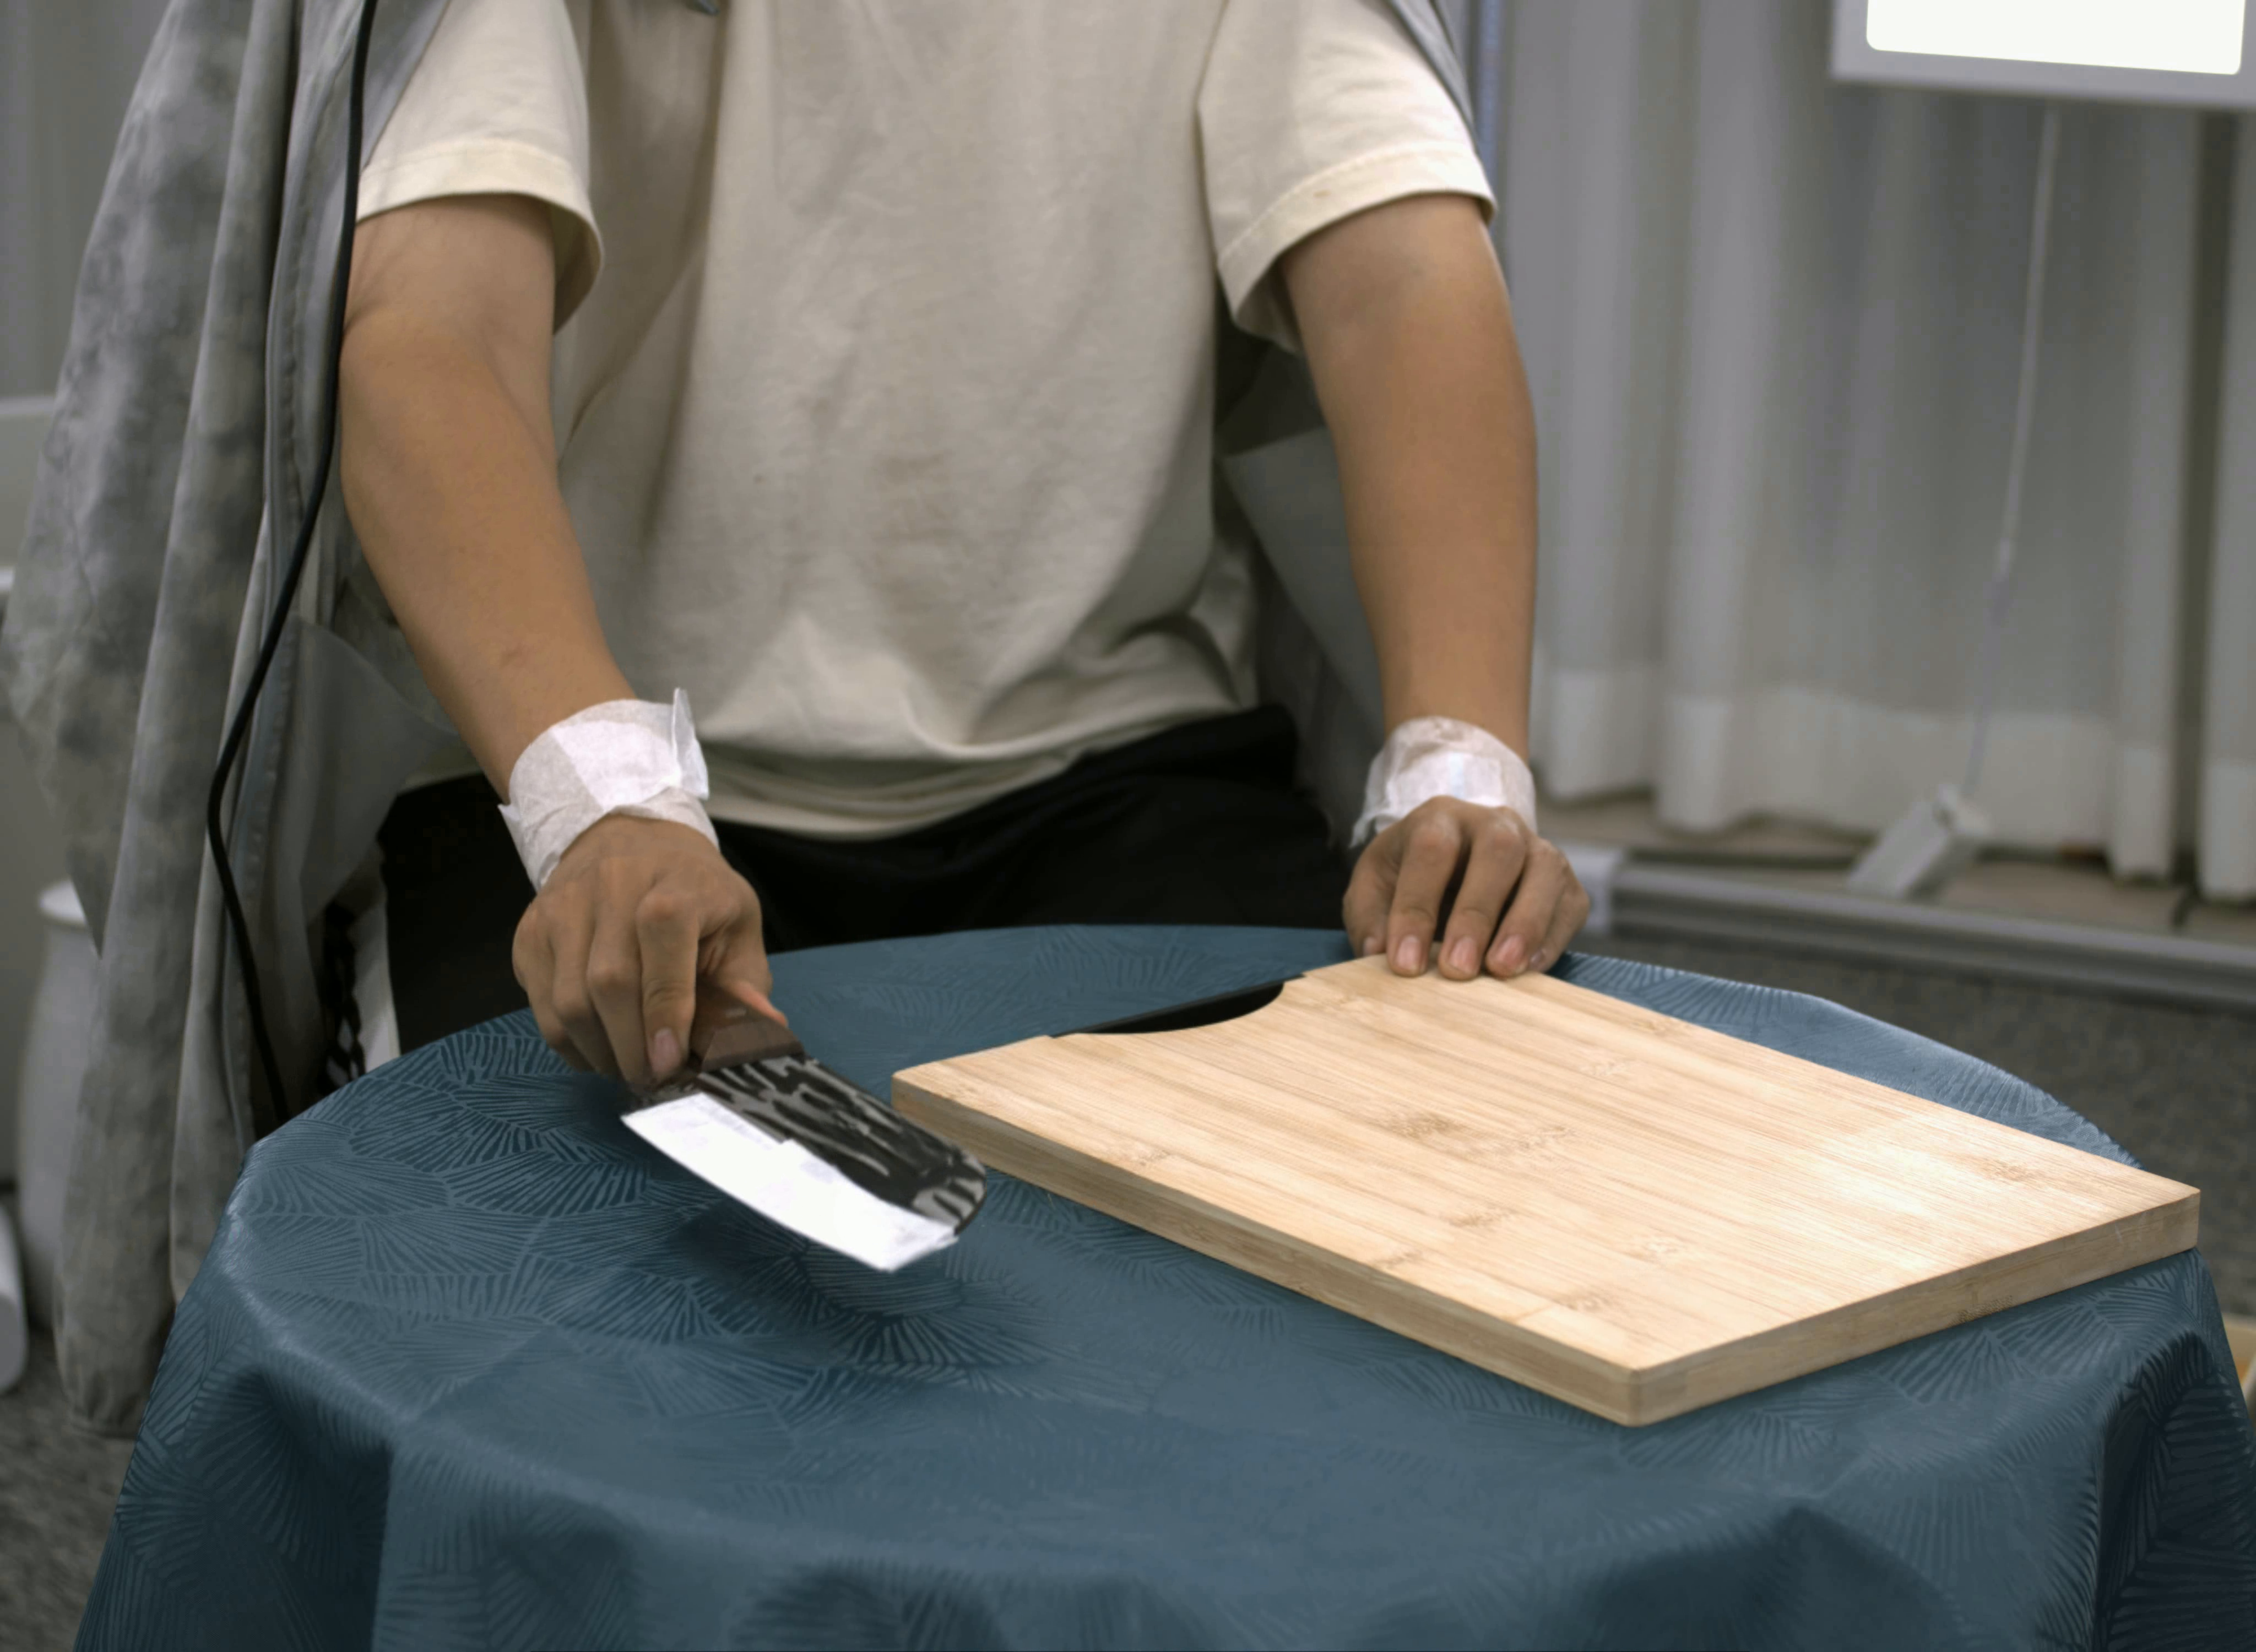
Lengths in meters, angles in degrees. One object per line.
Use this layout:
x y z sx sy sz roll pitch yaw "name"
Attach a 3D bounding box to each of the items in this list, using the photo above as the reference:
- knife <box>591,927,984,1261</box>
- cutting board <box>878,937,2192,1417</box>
-0.115 0.080 1.581 0.068 0.024 0.296 -15 20 -24 "knife"
0.120 0.102 1.638 0.252 0.024 0.344 -12 20 -40 "cutting board"
